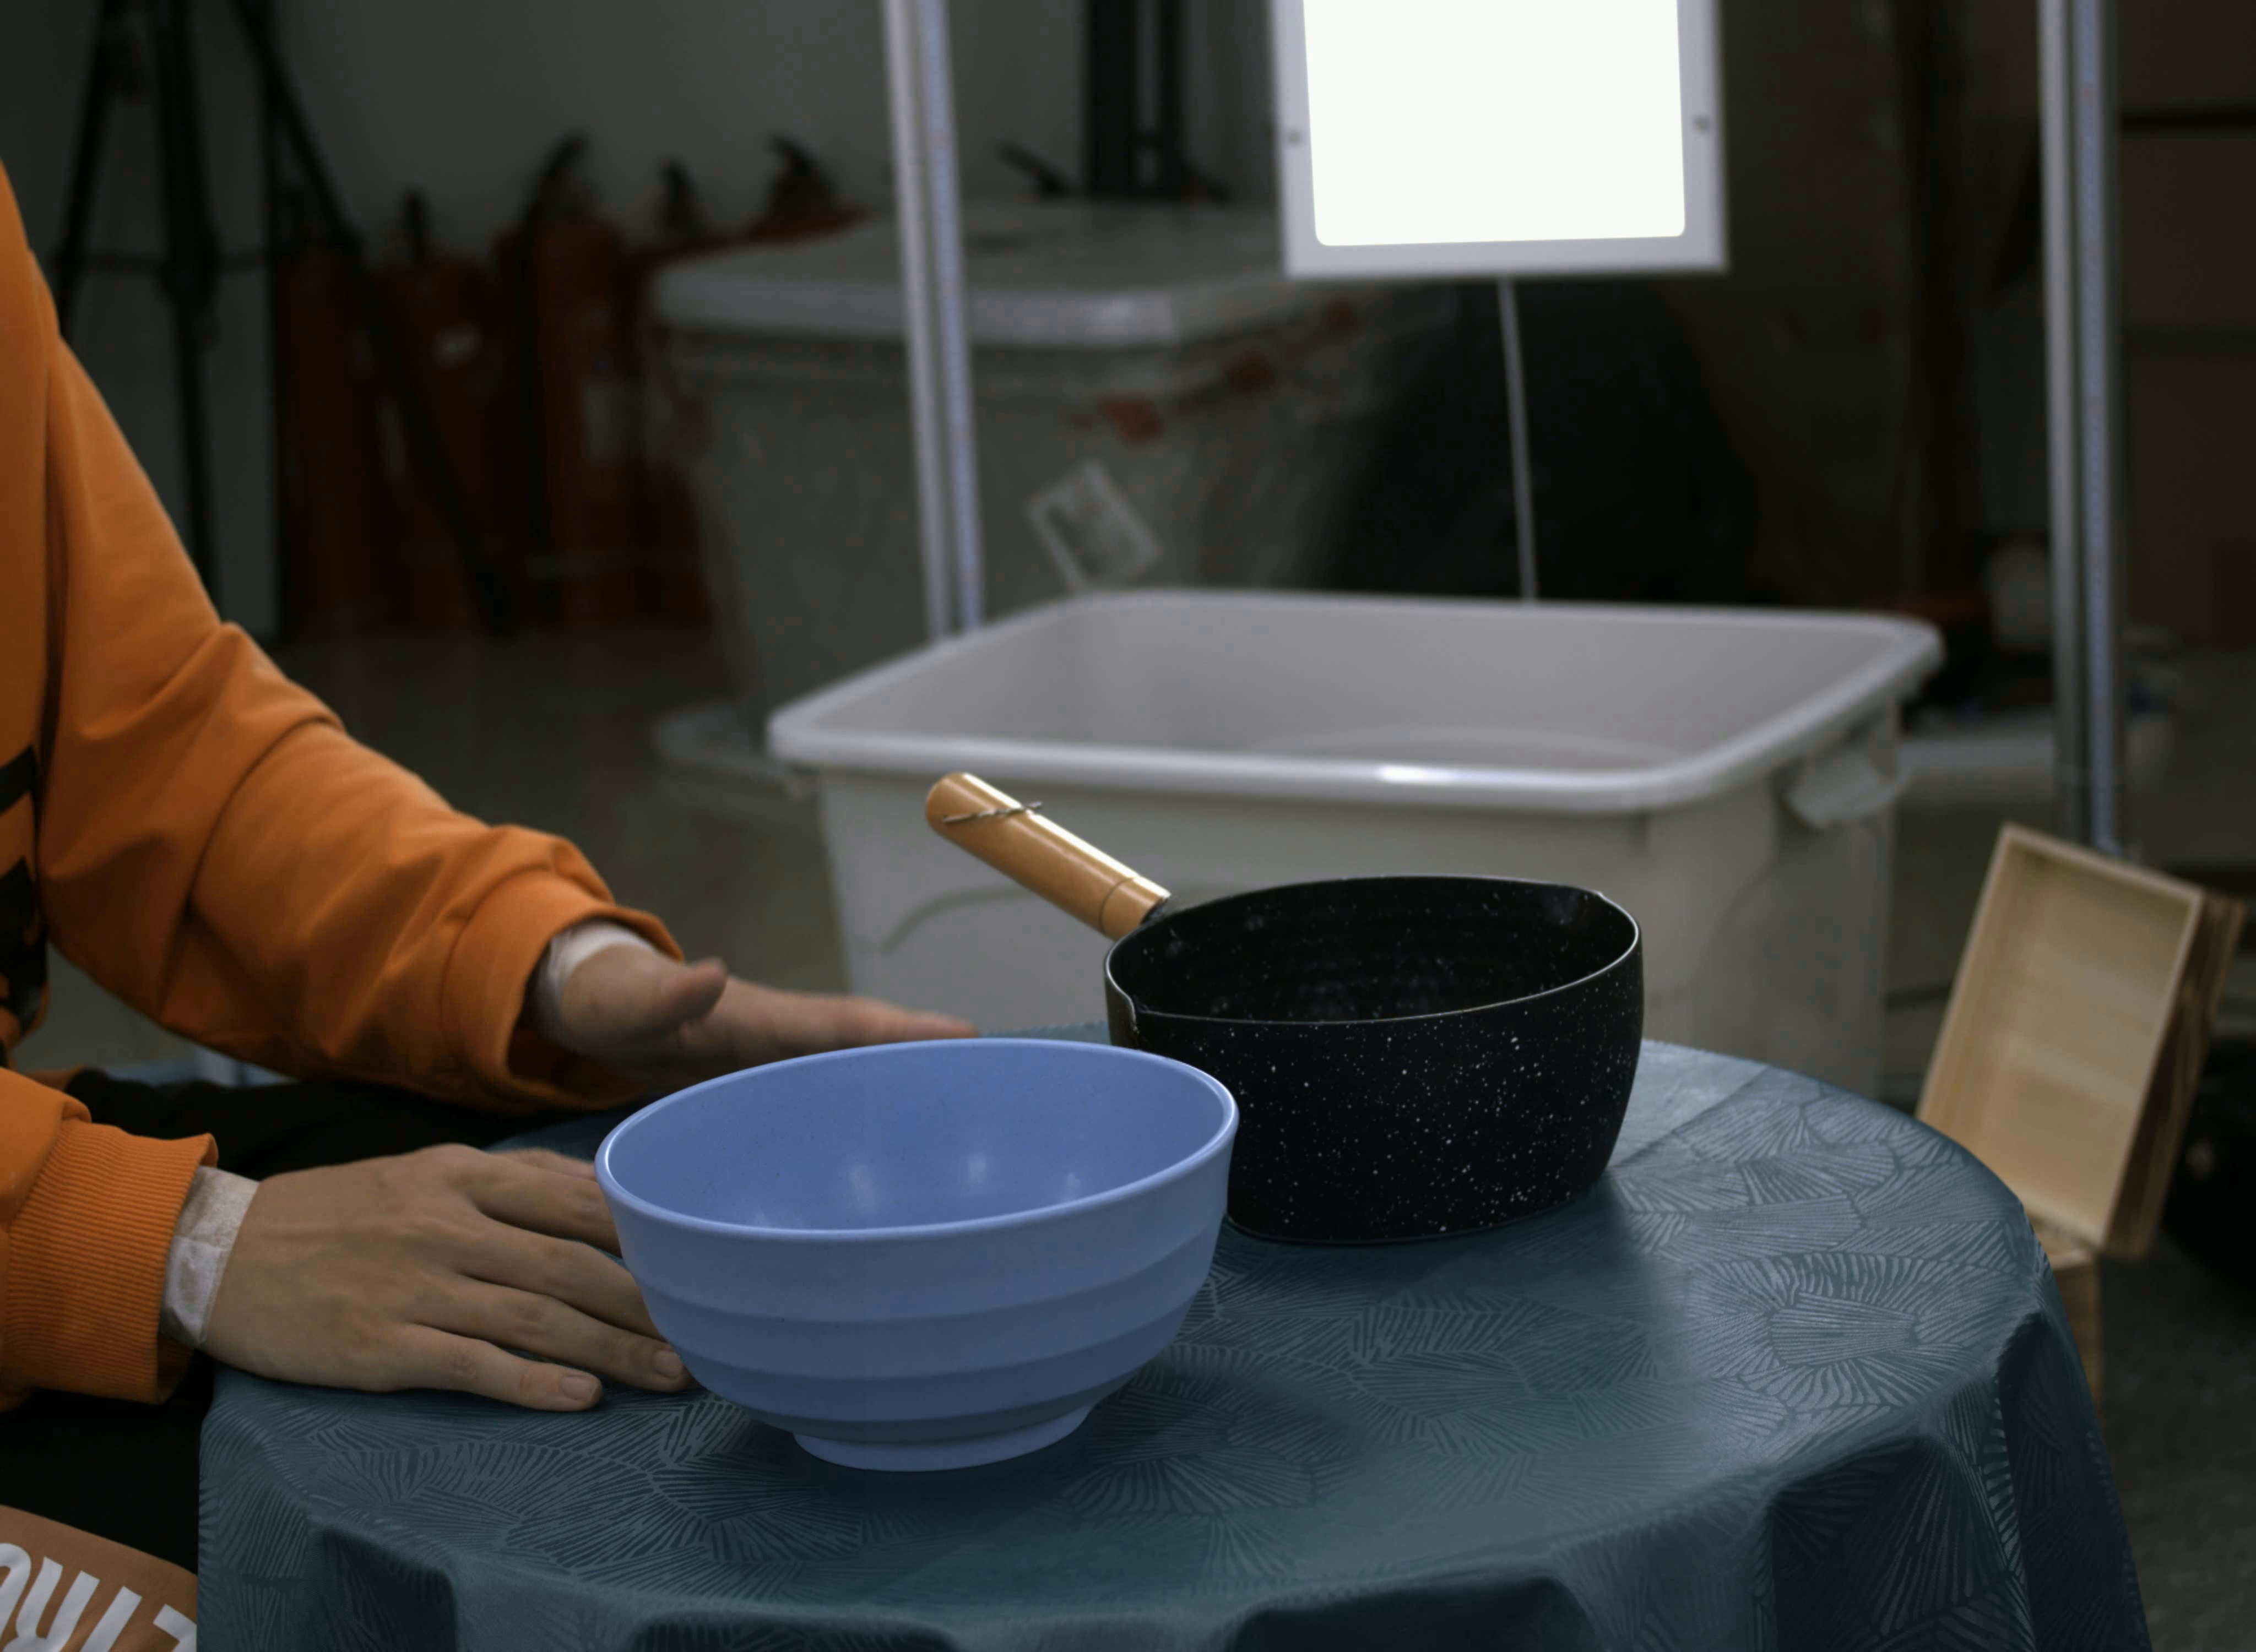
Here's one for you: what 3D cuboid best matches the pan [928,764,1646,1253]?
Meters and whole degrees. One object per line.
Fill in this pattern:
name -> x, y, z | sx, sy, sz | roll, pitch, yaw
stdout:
pan -> 0.037, 0.057, 1.936 | 0.202, 0.108, 0.350 | -16, 19, -34

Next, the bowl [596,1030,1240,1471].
bowl -> -0.061, 0.136, 1.679 | 0.196, 0.096, 0.196 | -4, 15, 0
